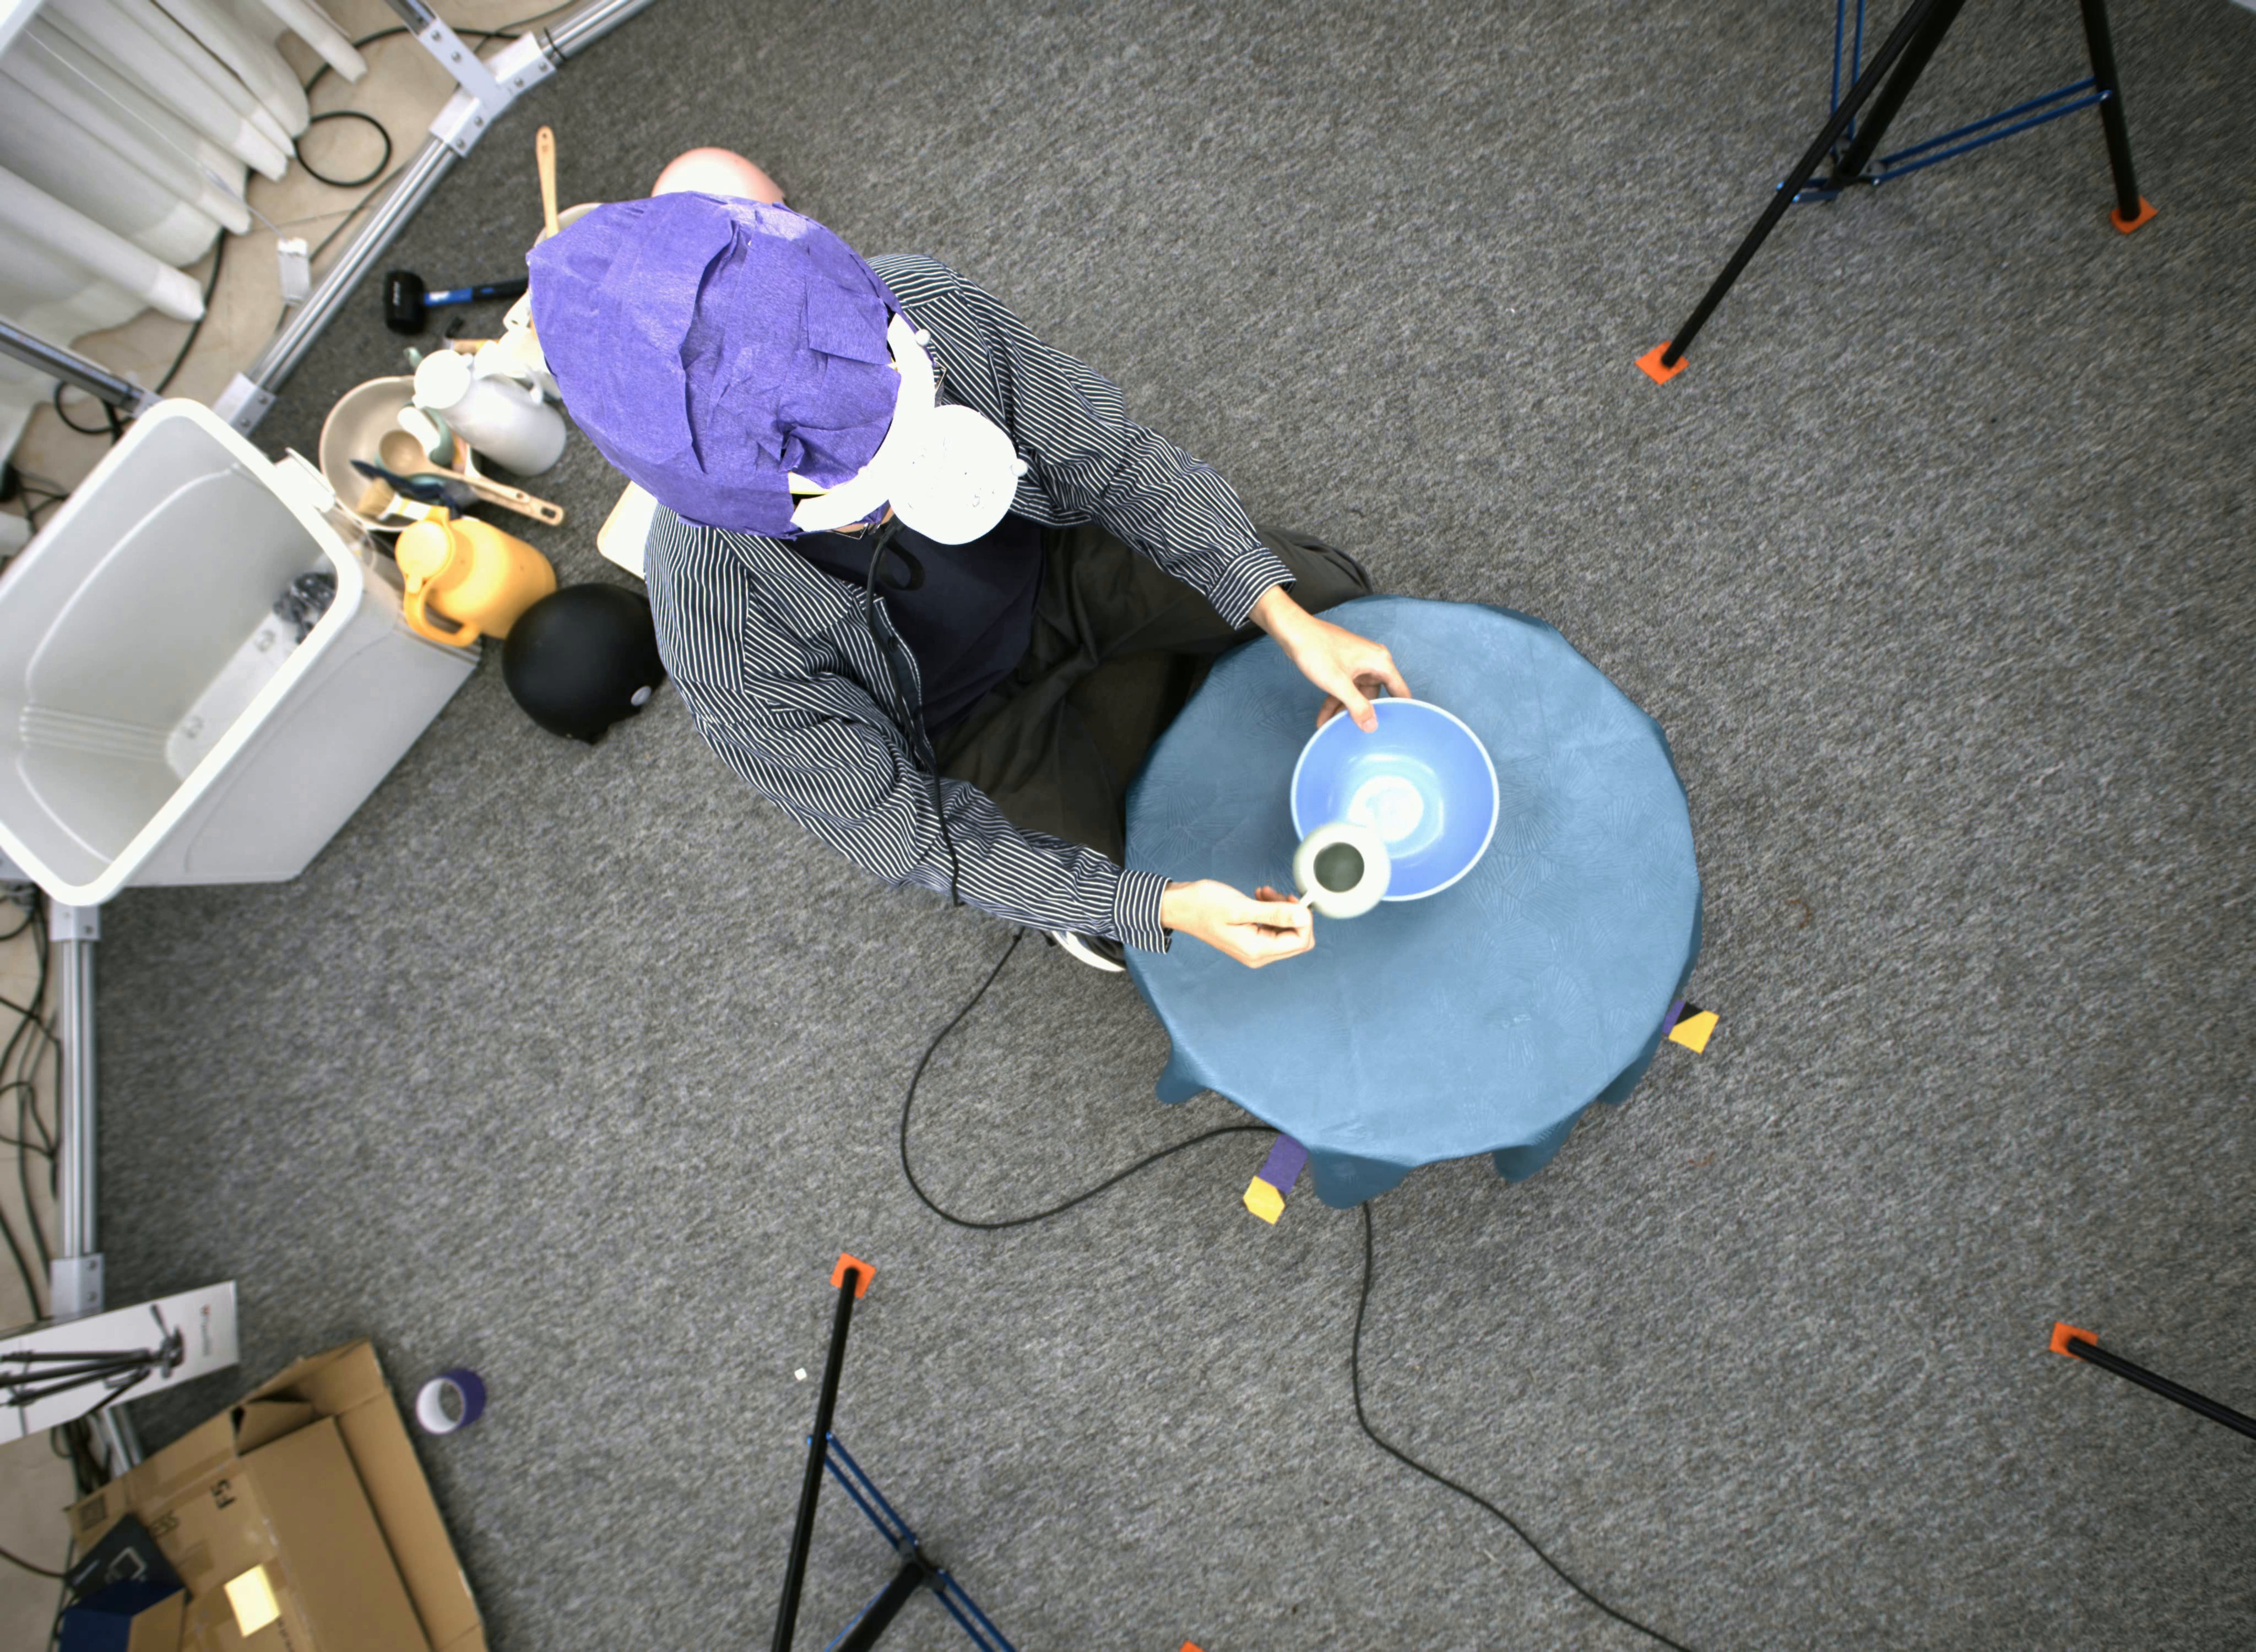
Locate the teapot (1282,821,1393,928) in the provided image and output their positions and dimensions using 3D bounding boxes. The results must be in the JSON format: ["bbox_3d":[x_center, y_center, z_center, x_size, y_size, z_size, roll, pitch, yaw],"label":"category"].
[{"bbox_3d":[0.190,0.047,1.269,0.129,0.061,0.091,-44,80,8],"label":"teapot"}]

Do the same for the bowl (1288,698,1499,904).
[{"bbox_3d":[0.256,-0.020,1.343,0.197,0.095,0.195,-1,86,8],"label":"bowl"}]
